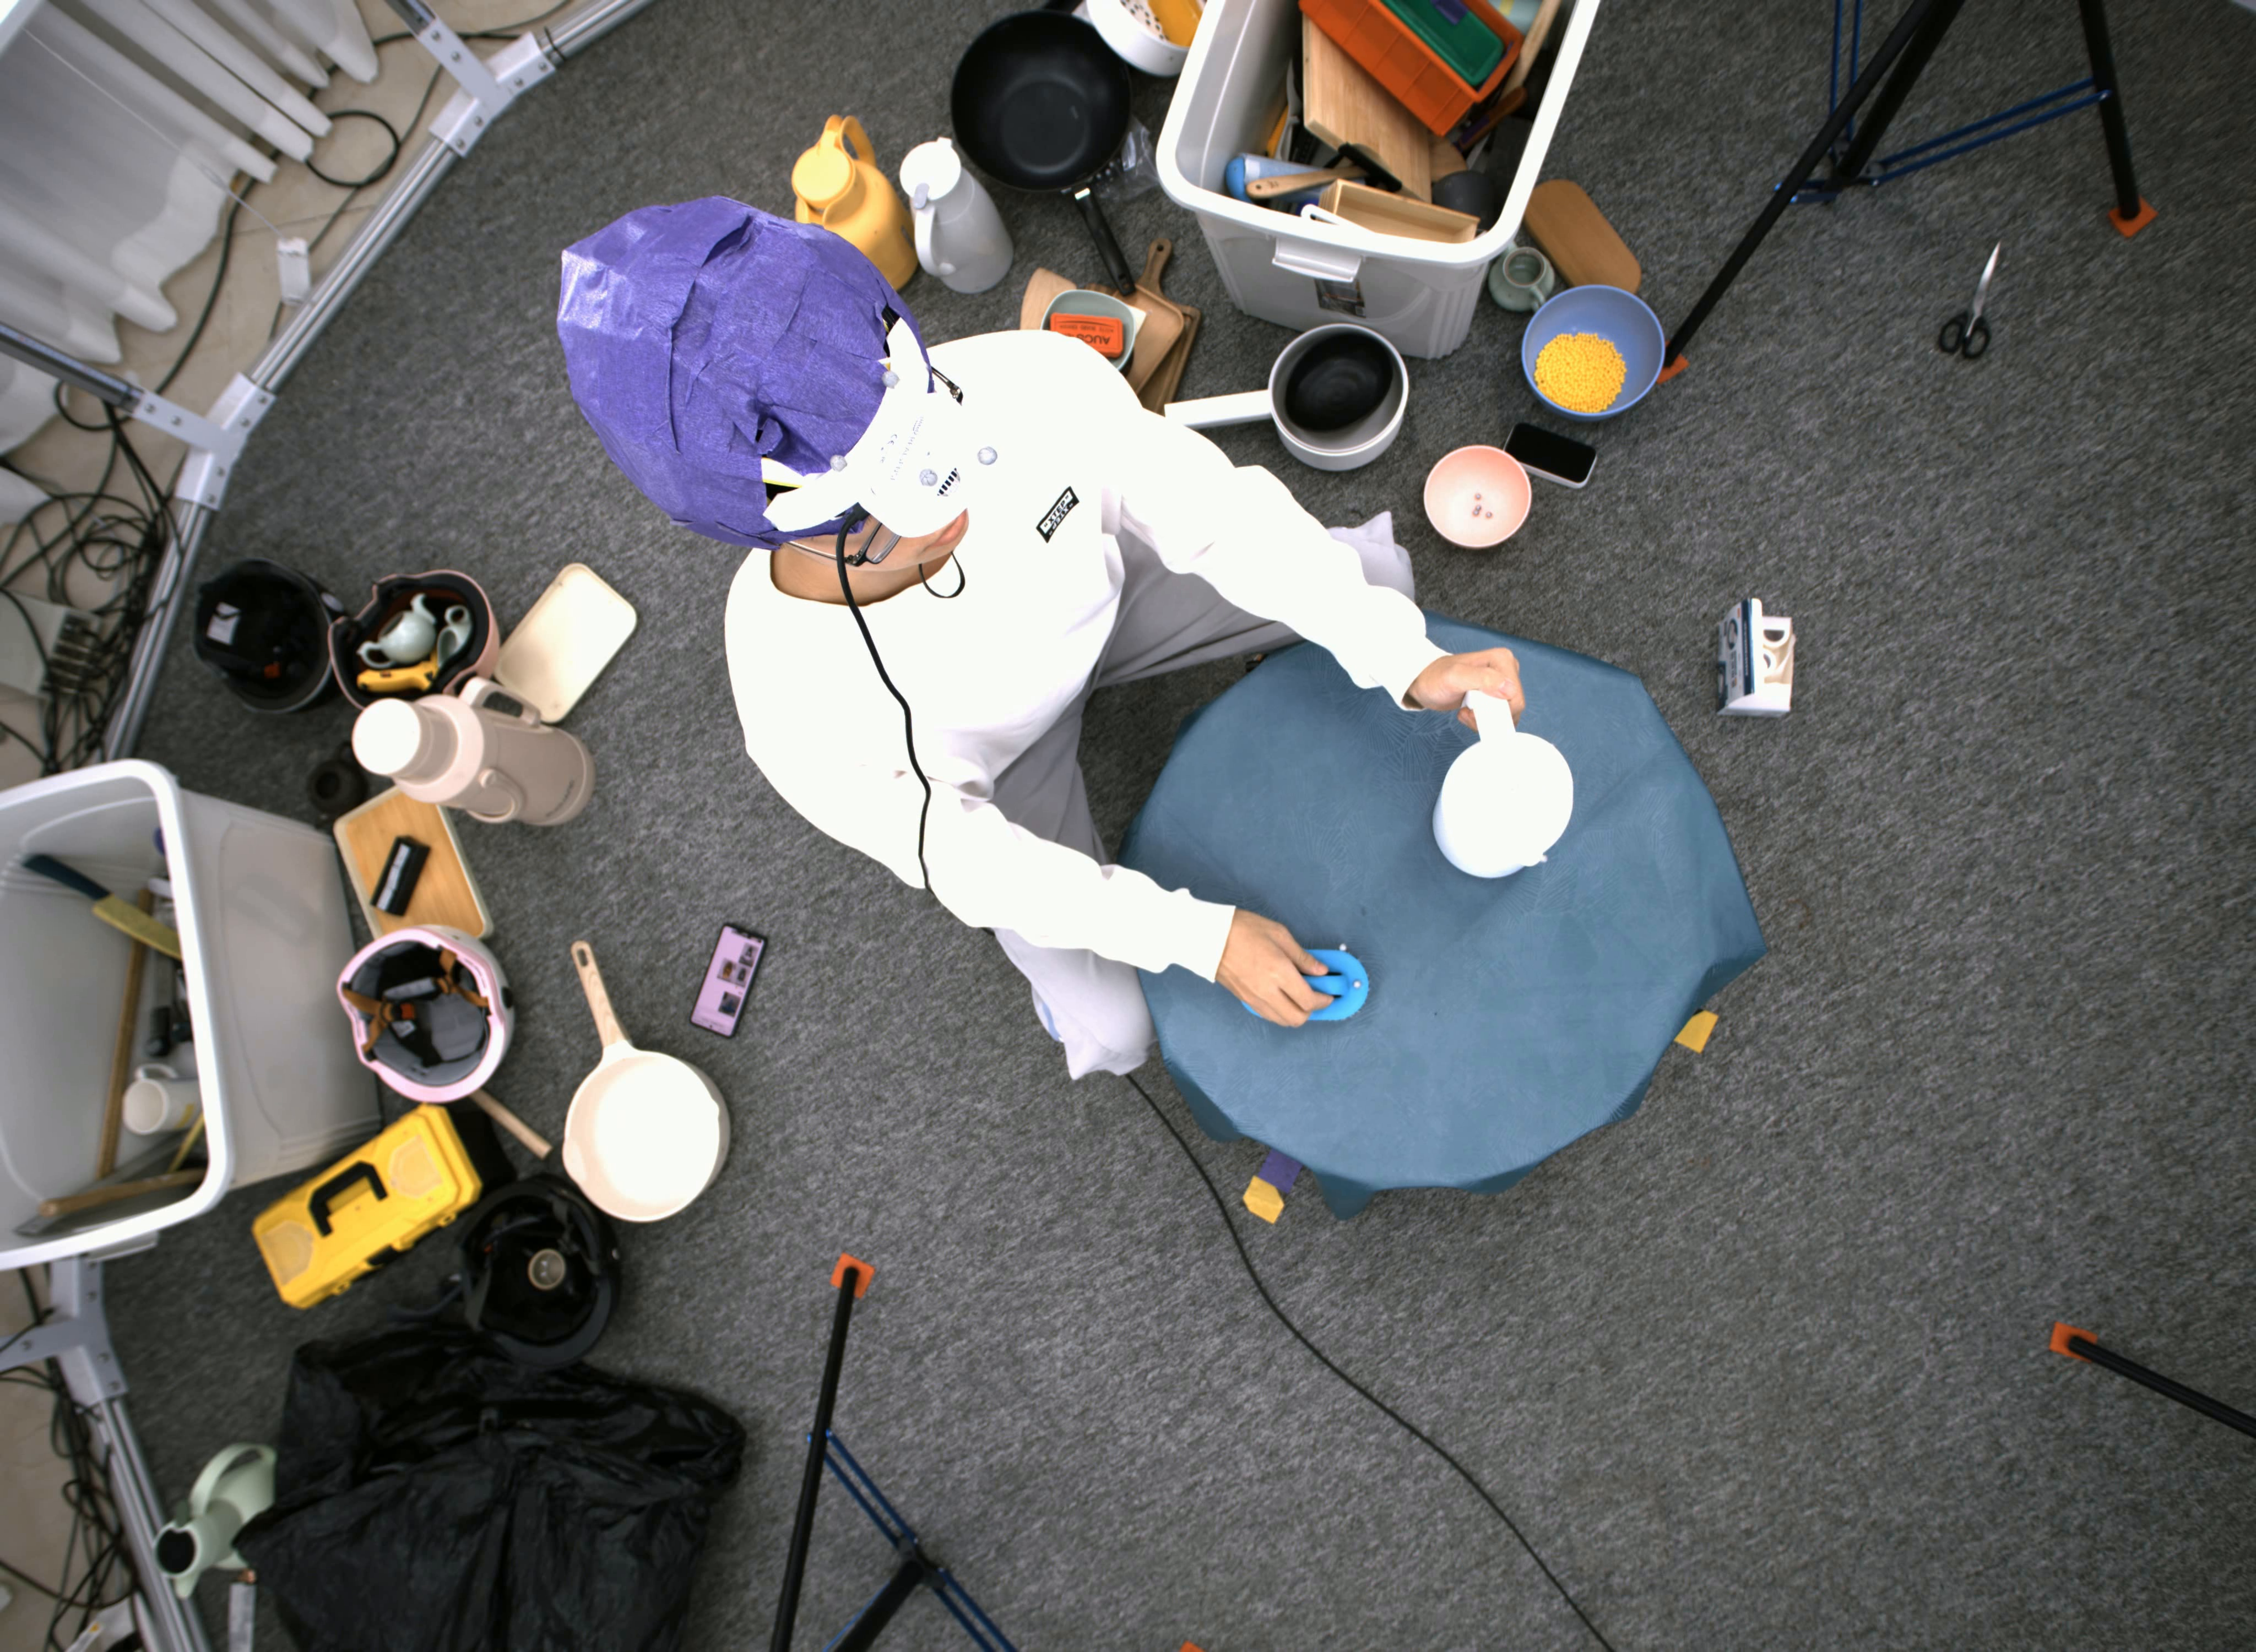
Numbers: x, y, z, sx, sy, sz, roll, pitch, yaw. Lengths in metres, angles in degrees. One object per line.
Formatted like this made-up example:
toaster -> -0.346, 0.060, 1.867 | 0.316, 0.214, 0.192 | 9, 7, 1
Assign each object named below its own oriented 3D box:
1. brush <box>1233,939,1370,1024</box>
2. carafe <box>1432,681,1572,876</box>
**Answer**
brush -> 0.179, 0.161, 1.439 | 0.142, 0.063, 0.084 | 2, 91, 12
carafe -> 0.350, -0.037, 1.315 | 0.124, 0.269, 0.171 | -14, 82, 11
